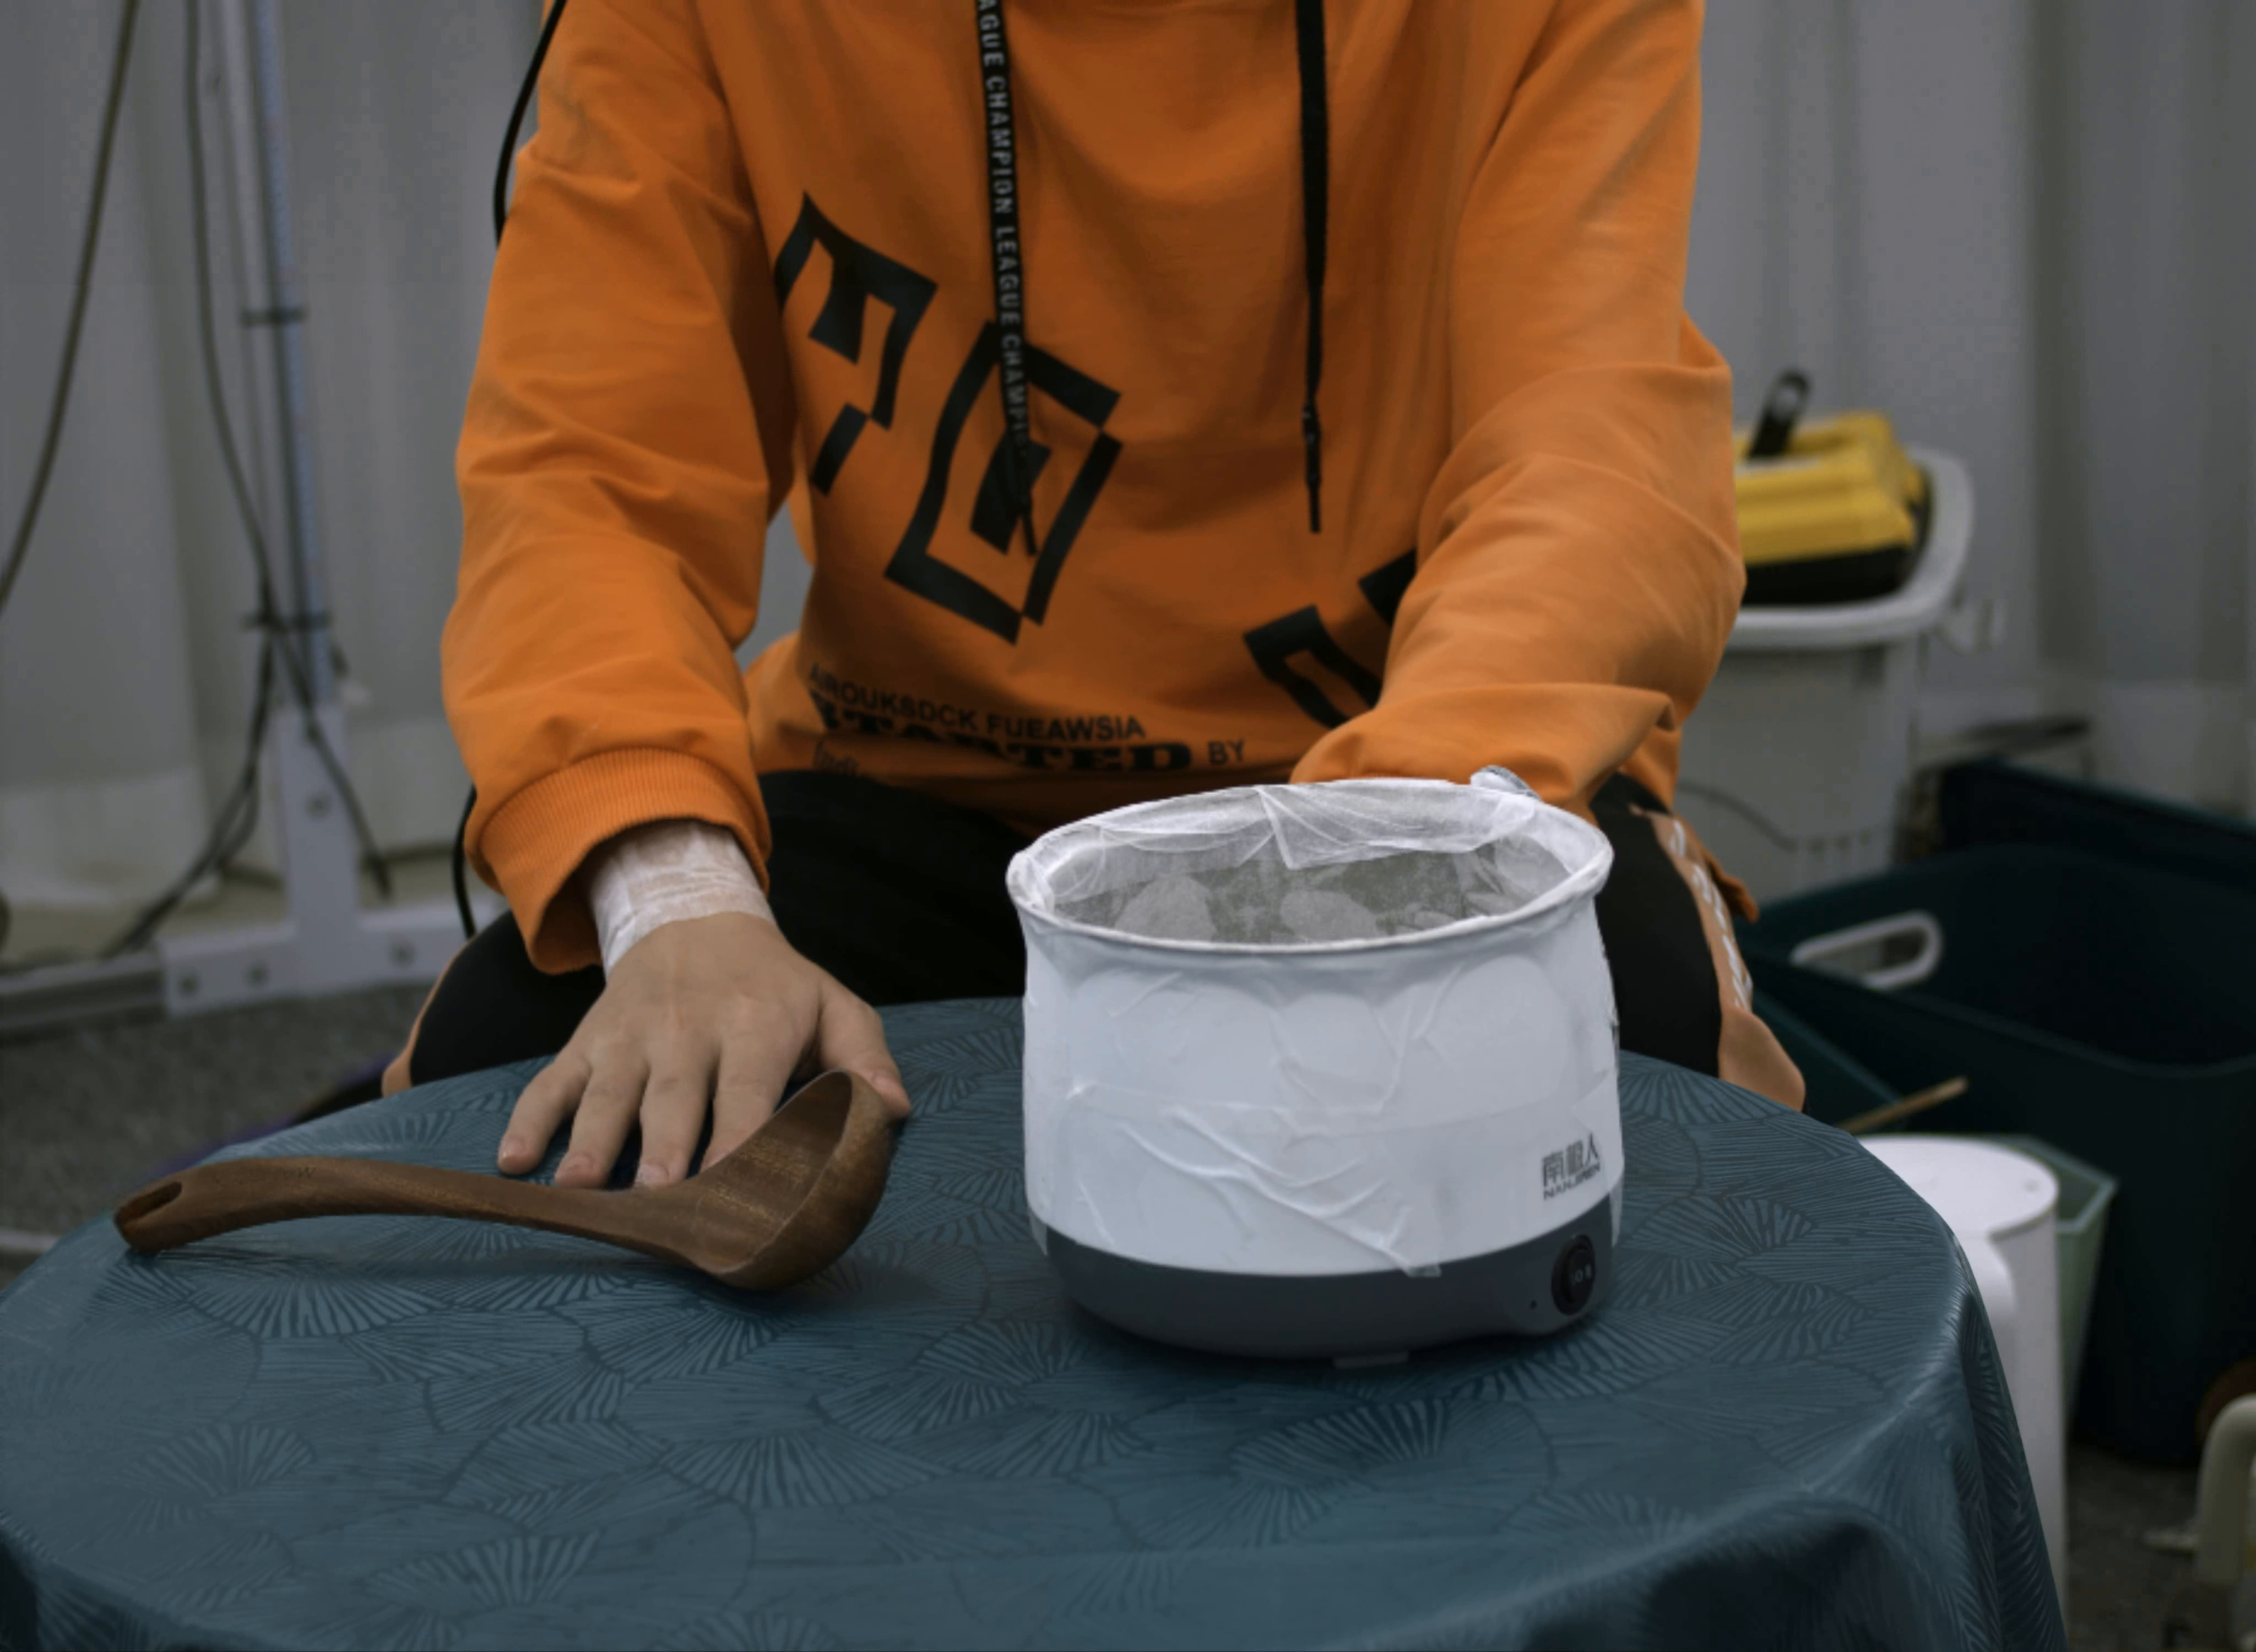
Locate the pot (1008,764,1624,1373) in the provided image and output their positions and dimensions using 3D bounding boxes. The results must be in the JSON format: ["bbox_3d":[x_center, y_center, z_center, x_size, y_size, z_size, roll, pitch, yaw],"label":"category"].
[{"bbox_3d":[0.072,0.064,1.625,0.179,0.136,0.234,8,19,34],"label":"pot"}]

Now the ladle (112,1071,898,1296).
[{"bbox_3d":[-0.194,0.107,1.666,0.260,0.064,0.077,2,37,14],"label":"ladle"}]
